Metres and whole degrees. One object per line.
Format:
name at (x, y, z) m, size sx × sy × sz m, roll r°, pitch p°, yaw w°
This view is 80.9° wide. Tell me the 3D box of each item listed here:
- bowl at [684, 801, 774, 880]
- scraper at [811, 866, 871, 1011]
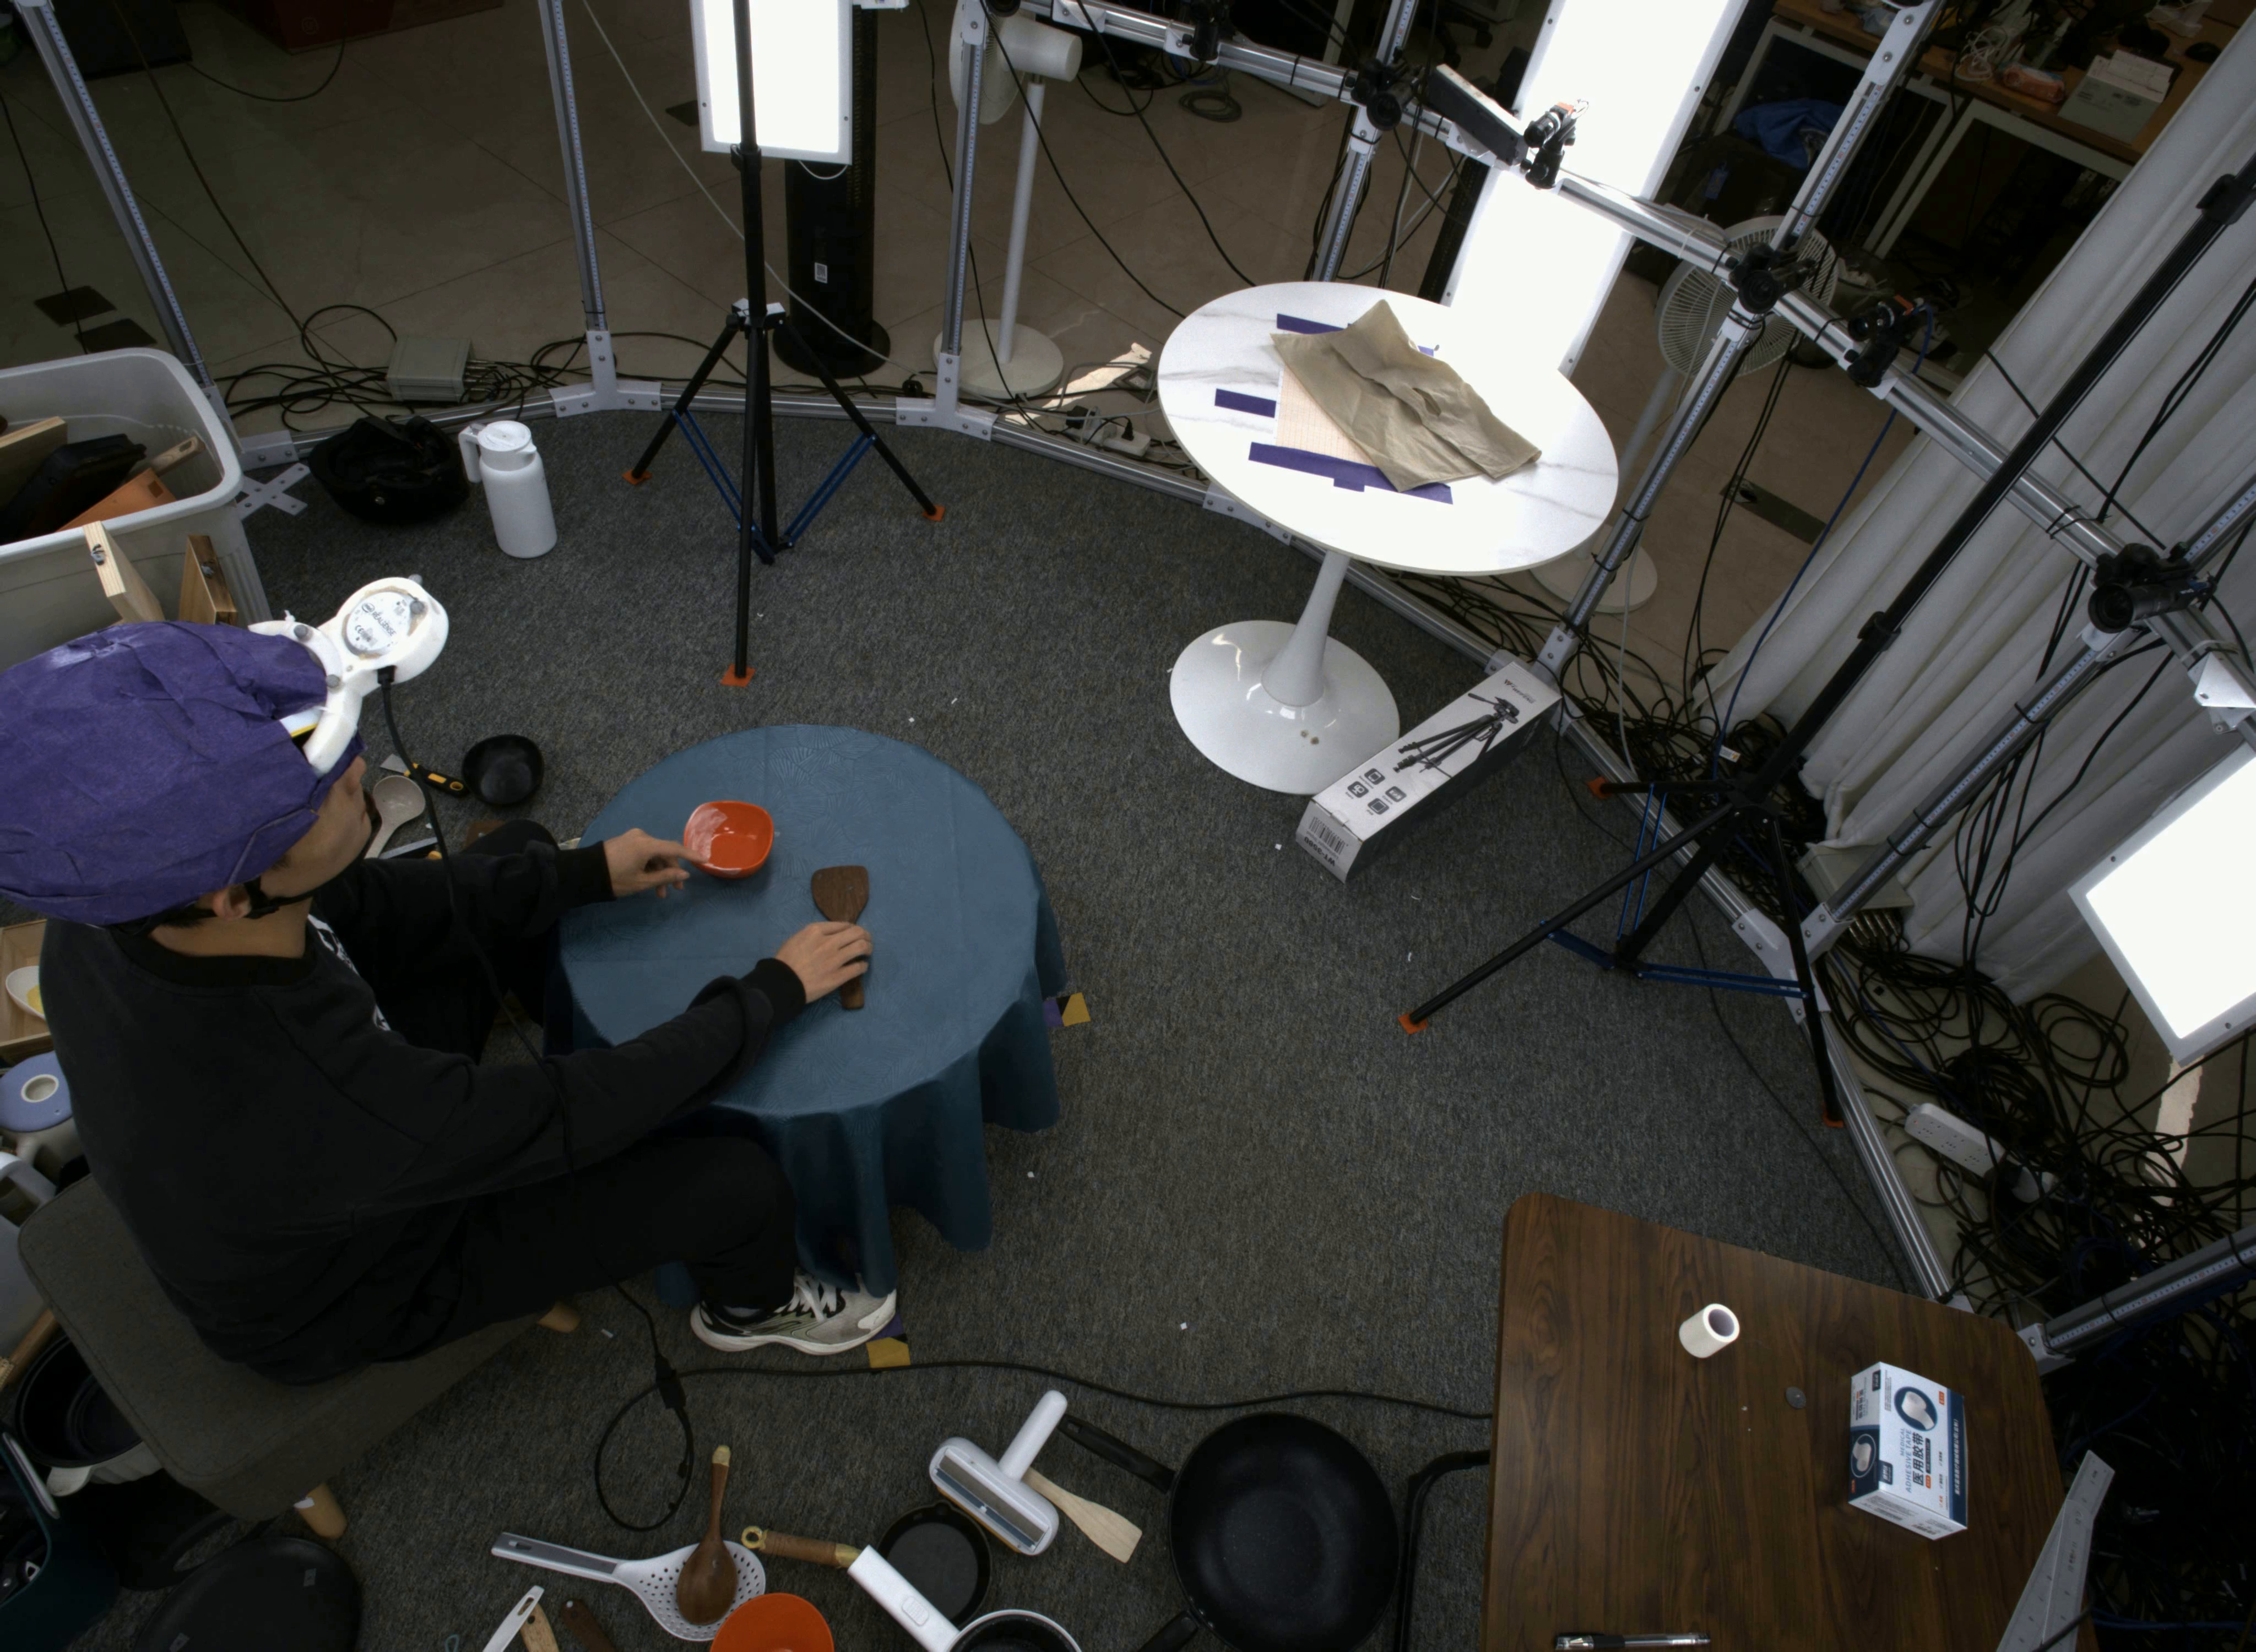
bowl at (-0.510, 0.026, 1.656) m, size 0.119 × 0.052 × 0.117 m, roll 9°, pitch 52°, yaw -10°
scraper at (-0.355, 0.138, 1.639) m, size 0.076 × 0.011 × 0.206 m, roll -4°, pitch 56°, yaw -16°
